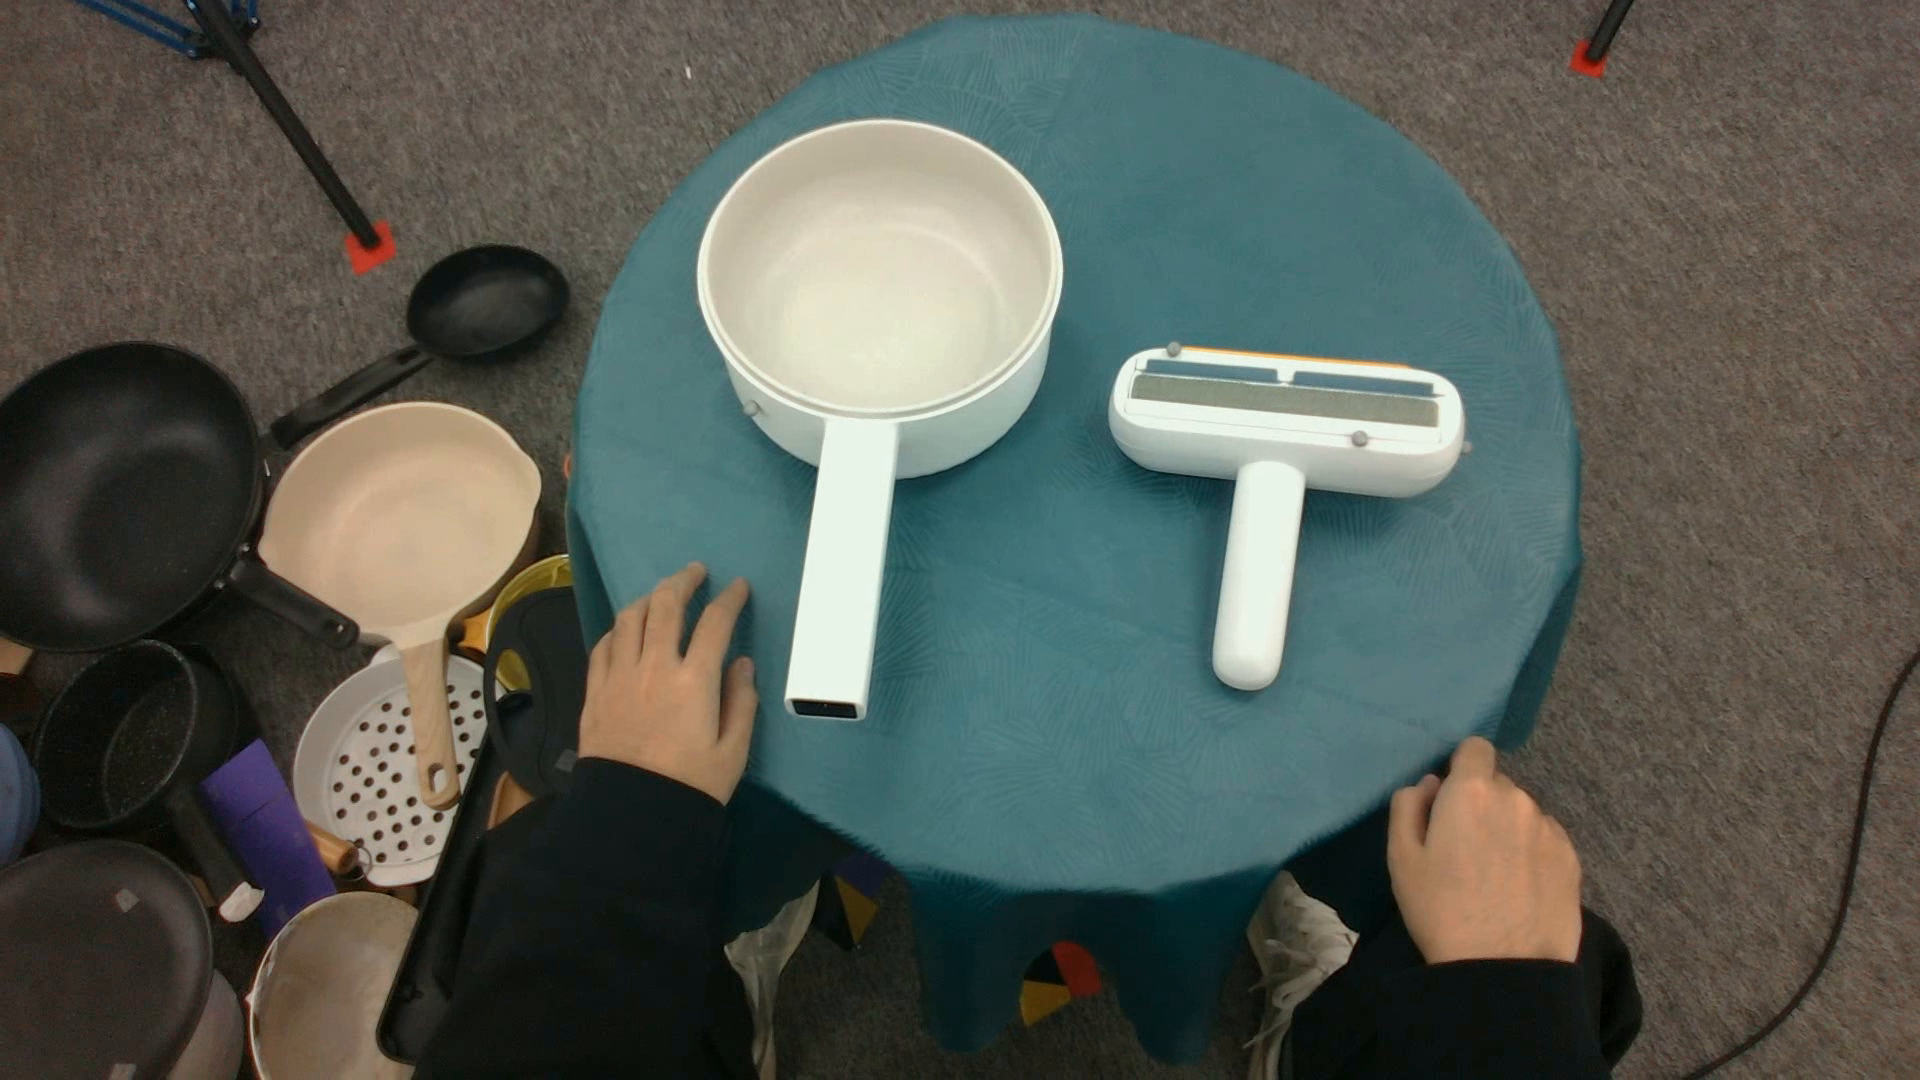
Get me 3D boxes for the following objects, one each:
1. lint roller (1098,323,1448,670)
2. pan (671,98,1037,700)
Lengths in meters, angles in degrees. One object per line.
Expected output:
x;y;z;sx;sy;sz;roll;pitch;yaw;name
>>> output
0.159;-0.024;0.763;0.193;0.074;0.193;13;67;11;lint roller
-0.064;-0.076;0.765;0.201;0.101;0.356;4;66;1;pan
